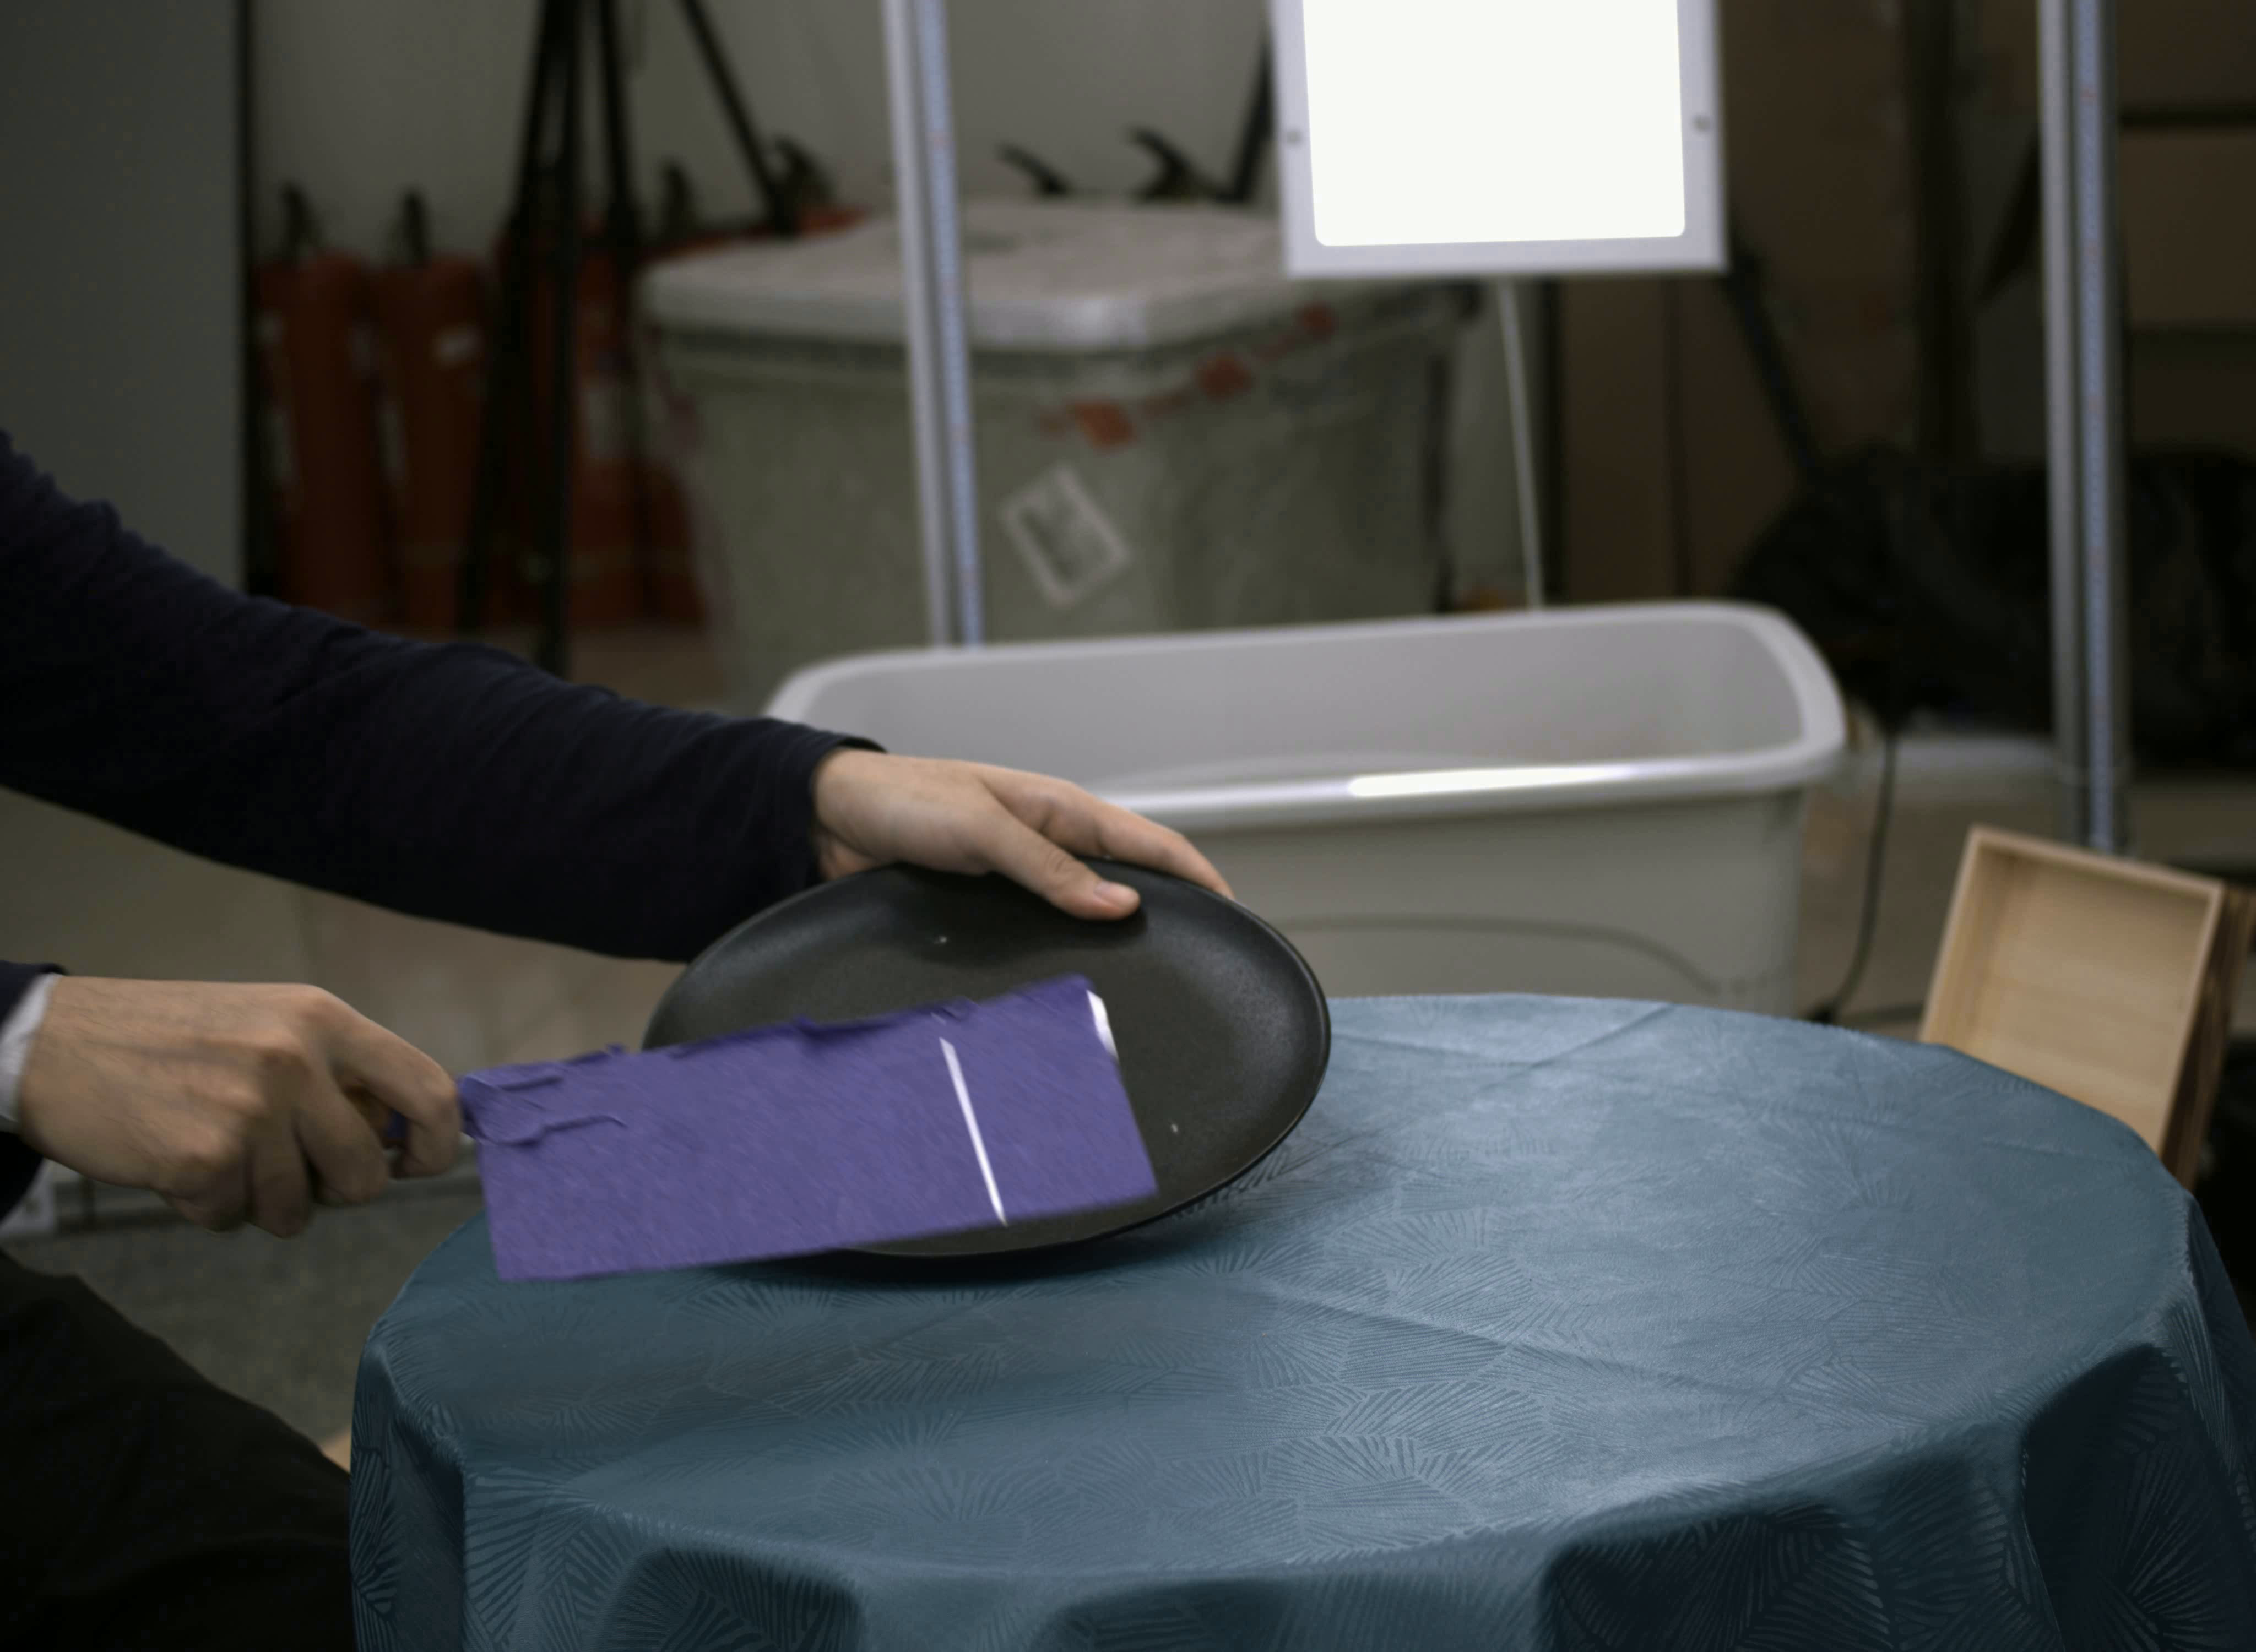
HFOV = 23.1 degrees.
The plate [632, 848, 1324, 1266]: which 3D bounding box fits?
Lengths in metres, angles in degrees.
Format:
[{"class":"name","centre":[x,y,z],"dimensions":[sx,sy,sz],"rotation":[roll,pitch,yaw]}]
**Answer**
[{"class":"plate","centre":[-0.052,0.084,1.925],"dimensions":[0.244,0.023,0.244],"rotation":[-5,34,2]}]

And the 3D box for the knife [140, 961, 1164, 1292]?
[{"class":"knife","centre":[-0.148,0.101,1.722],"dimensions":[0.313,0.032,0.104],"rotation":[-9,46,-5]}]
